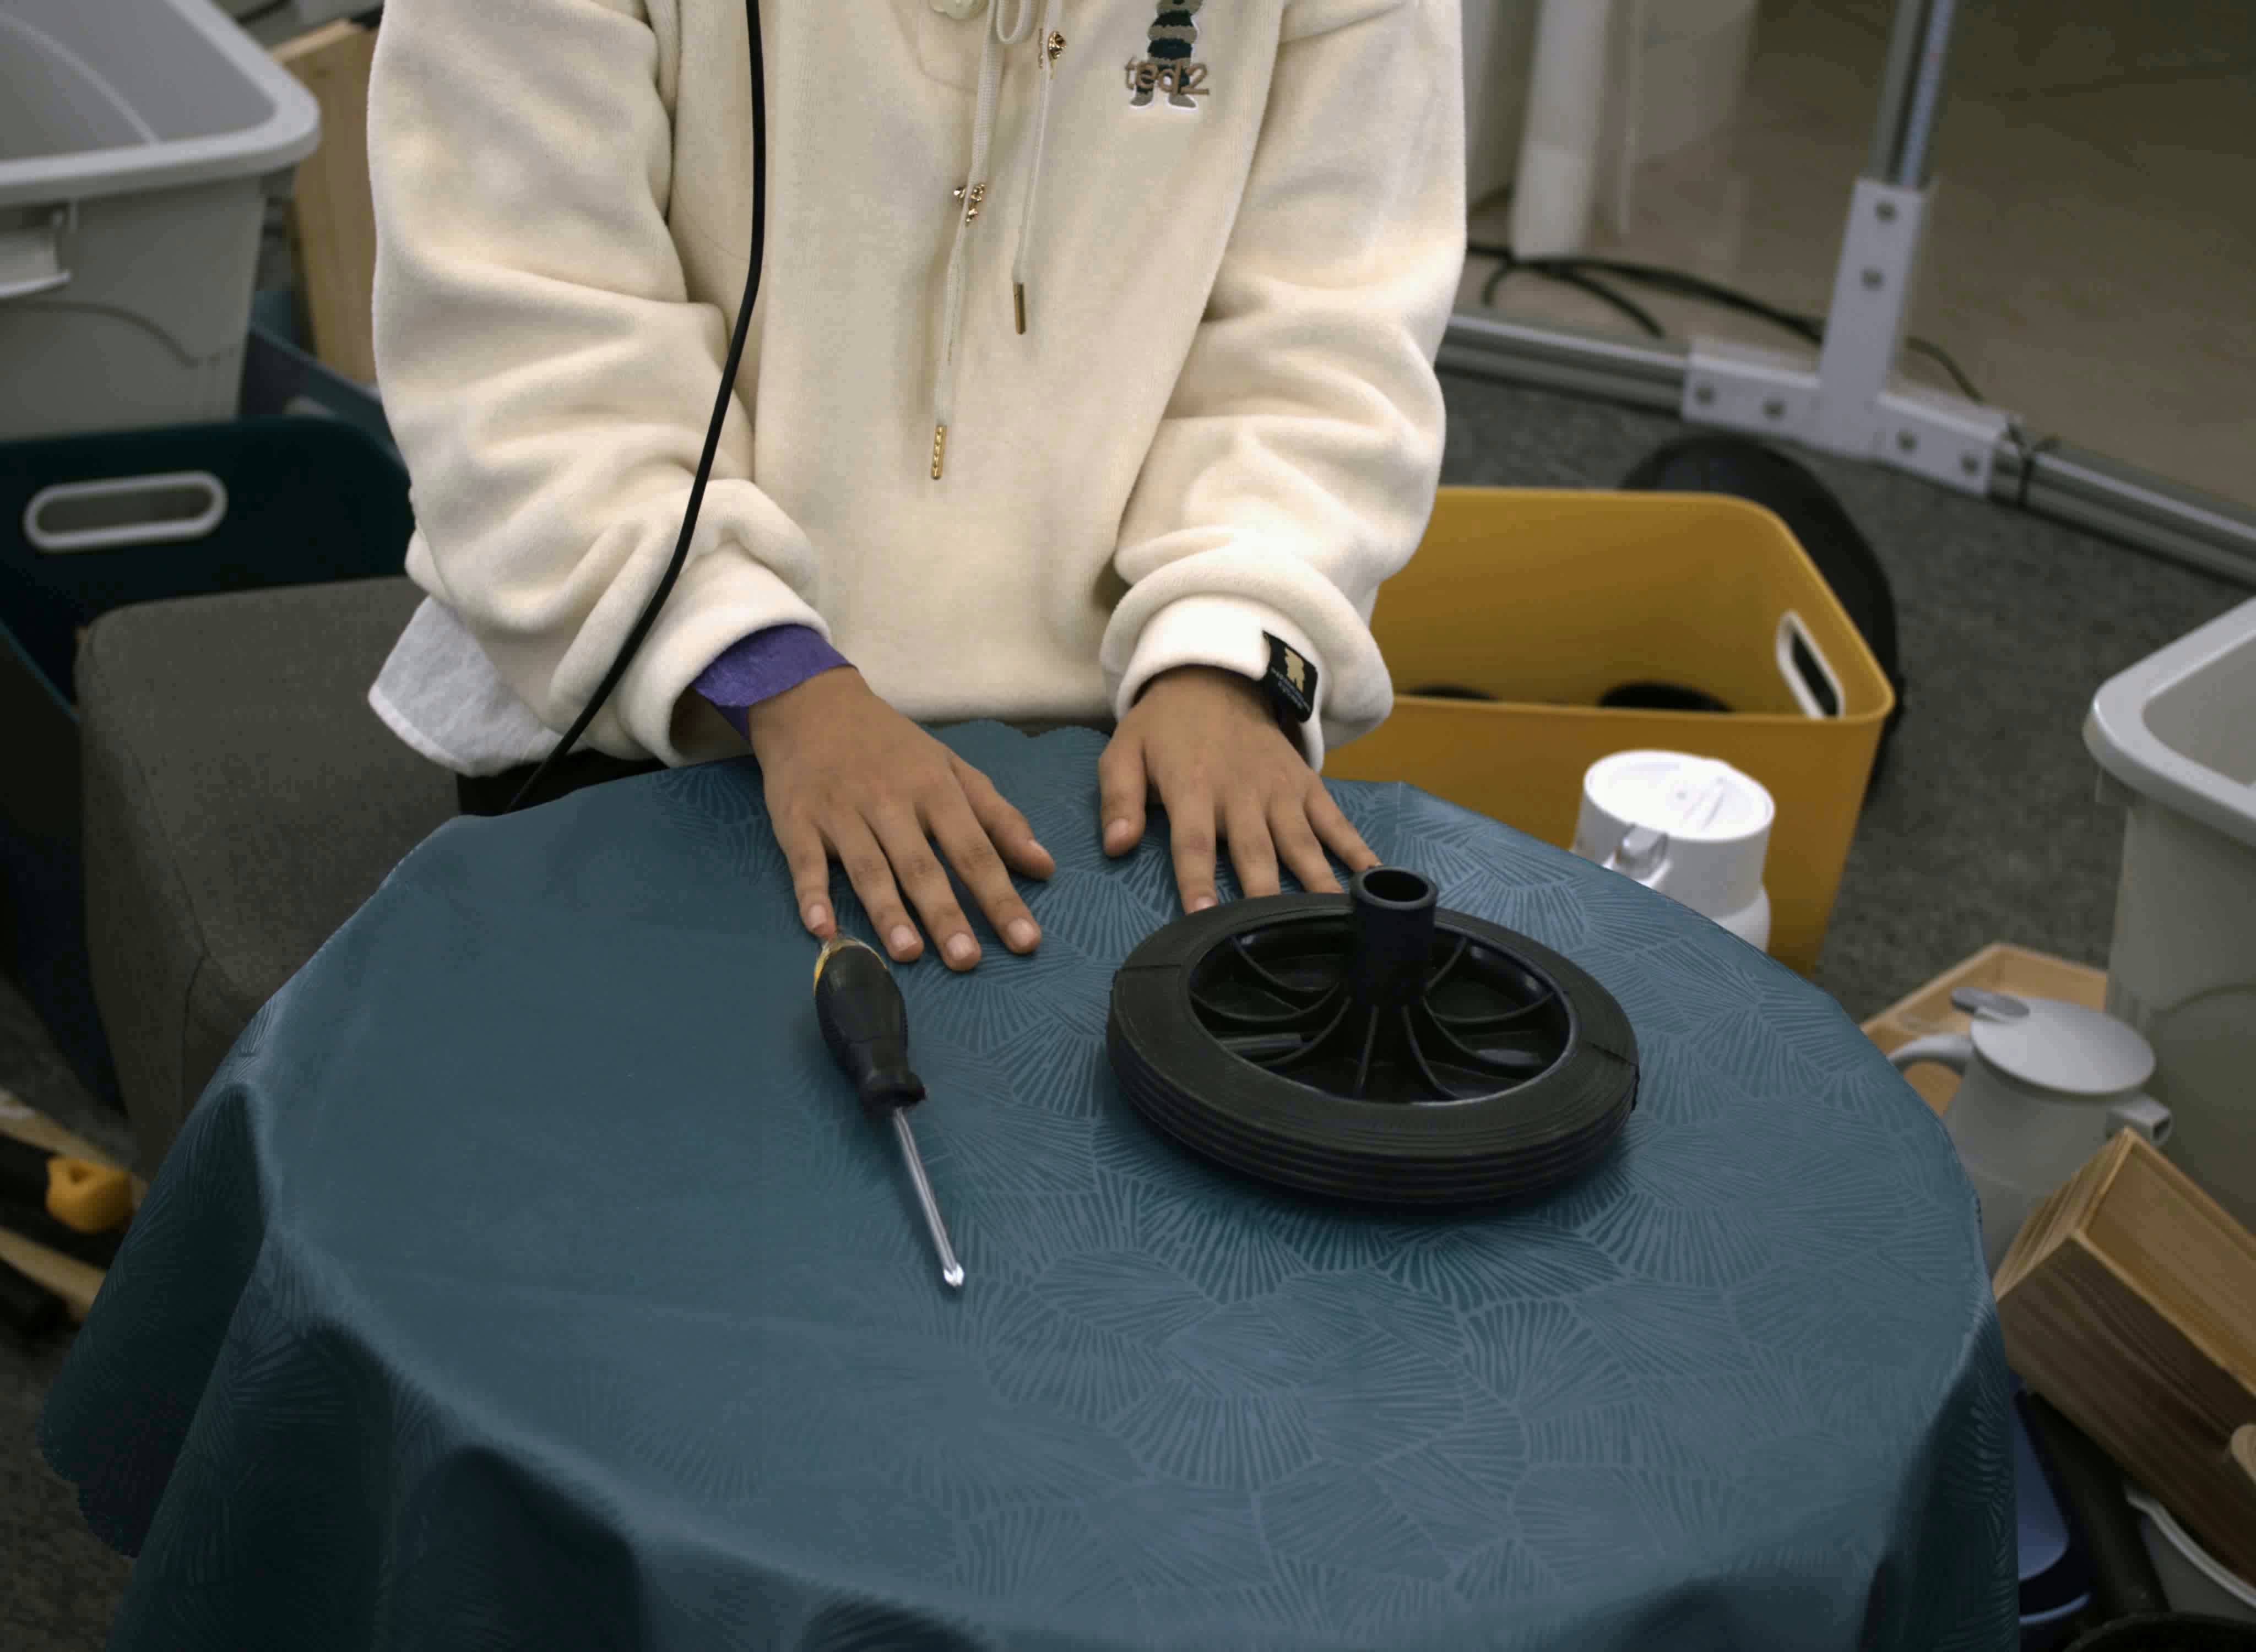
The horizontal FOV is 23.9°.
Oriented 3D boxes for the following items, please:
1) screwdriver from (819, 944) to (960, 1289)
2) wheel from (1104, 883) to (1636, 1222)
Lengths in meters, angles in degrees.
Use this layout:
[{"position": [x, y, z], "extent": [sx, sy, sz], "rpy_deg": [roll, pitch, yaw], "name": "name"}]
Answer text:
[{"position": [-0.074, 0.098, 1.809], "extent": [0.031, 0.031, 0.198], "rpy_deg": [-2, 30, -17], "name": "screwdriver"}, {"position": [0.086, 0.062, 1.862], "extent": [0.189, 0.079, 0.189], "rpy_deg": [-22, 38, -38], "name": "wheel"}]
